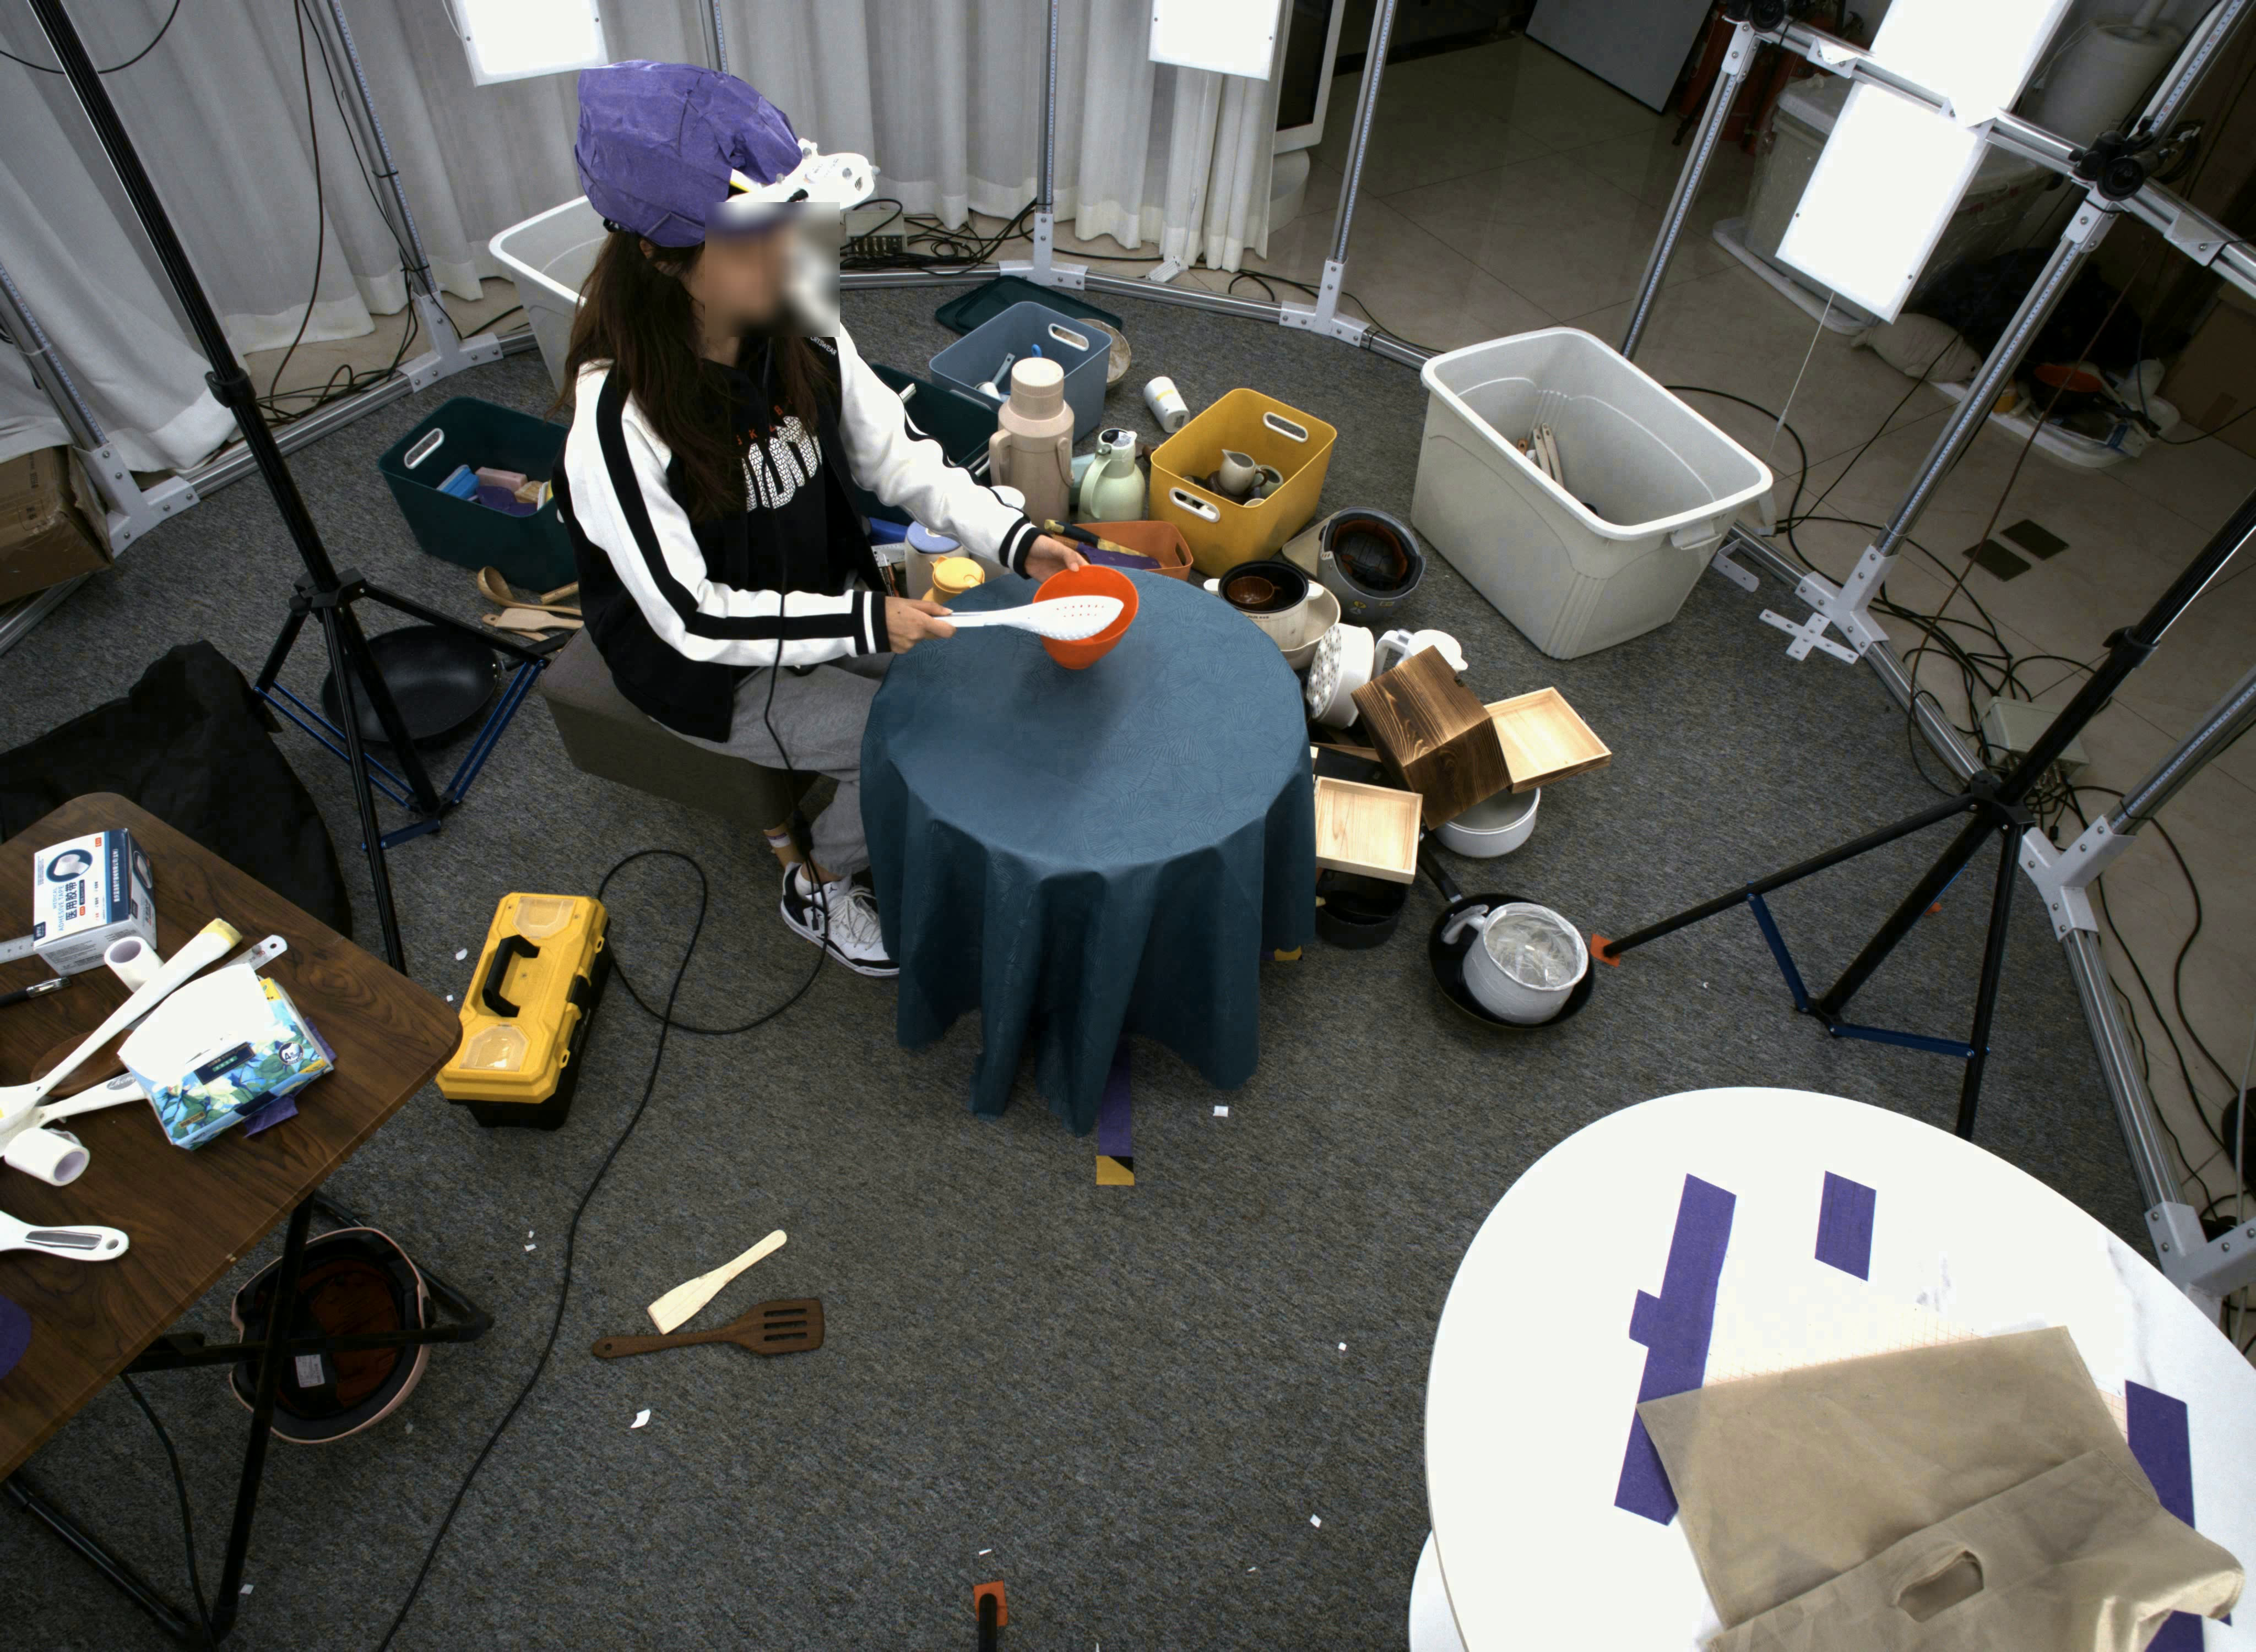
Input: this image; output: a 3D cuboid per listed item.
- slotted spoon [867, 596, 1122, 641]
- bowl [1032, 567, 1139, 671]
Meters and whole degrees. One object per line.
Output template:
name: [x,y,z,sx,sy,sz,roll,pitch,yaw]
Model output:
slotted spoon: [-0.181,-0.280,1.728,0.350,0.045,0.138,4,25,10]
bowl: [-0.062,-0.282,1.820,0.148,0.102,0.151,3,53,-4]
